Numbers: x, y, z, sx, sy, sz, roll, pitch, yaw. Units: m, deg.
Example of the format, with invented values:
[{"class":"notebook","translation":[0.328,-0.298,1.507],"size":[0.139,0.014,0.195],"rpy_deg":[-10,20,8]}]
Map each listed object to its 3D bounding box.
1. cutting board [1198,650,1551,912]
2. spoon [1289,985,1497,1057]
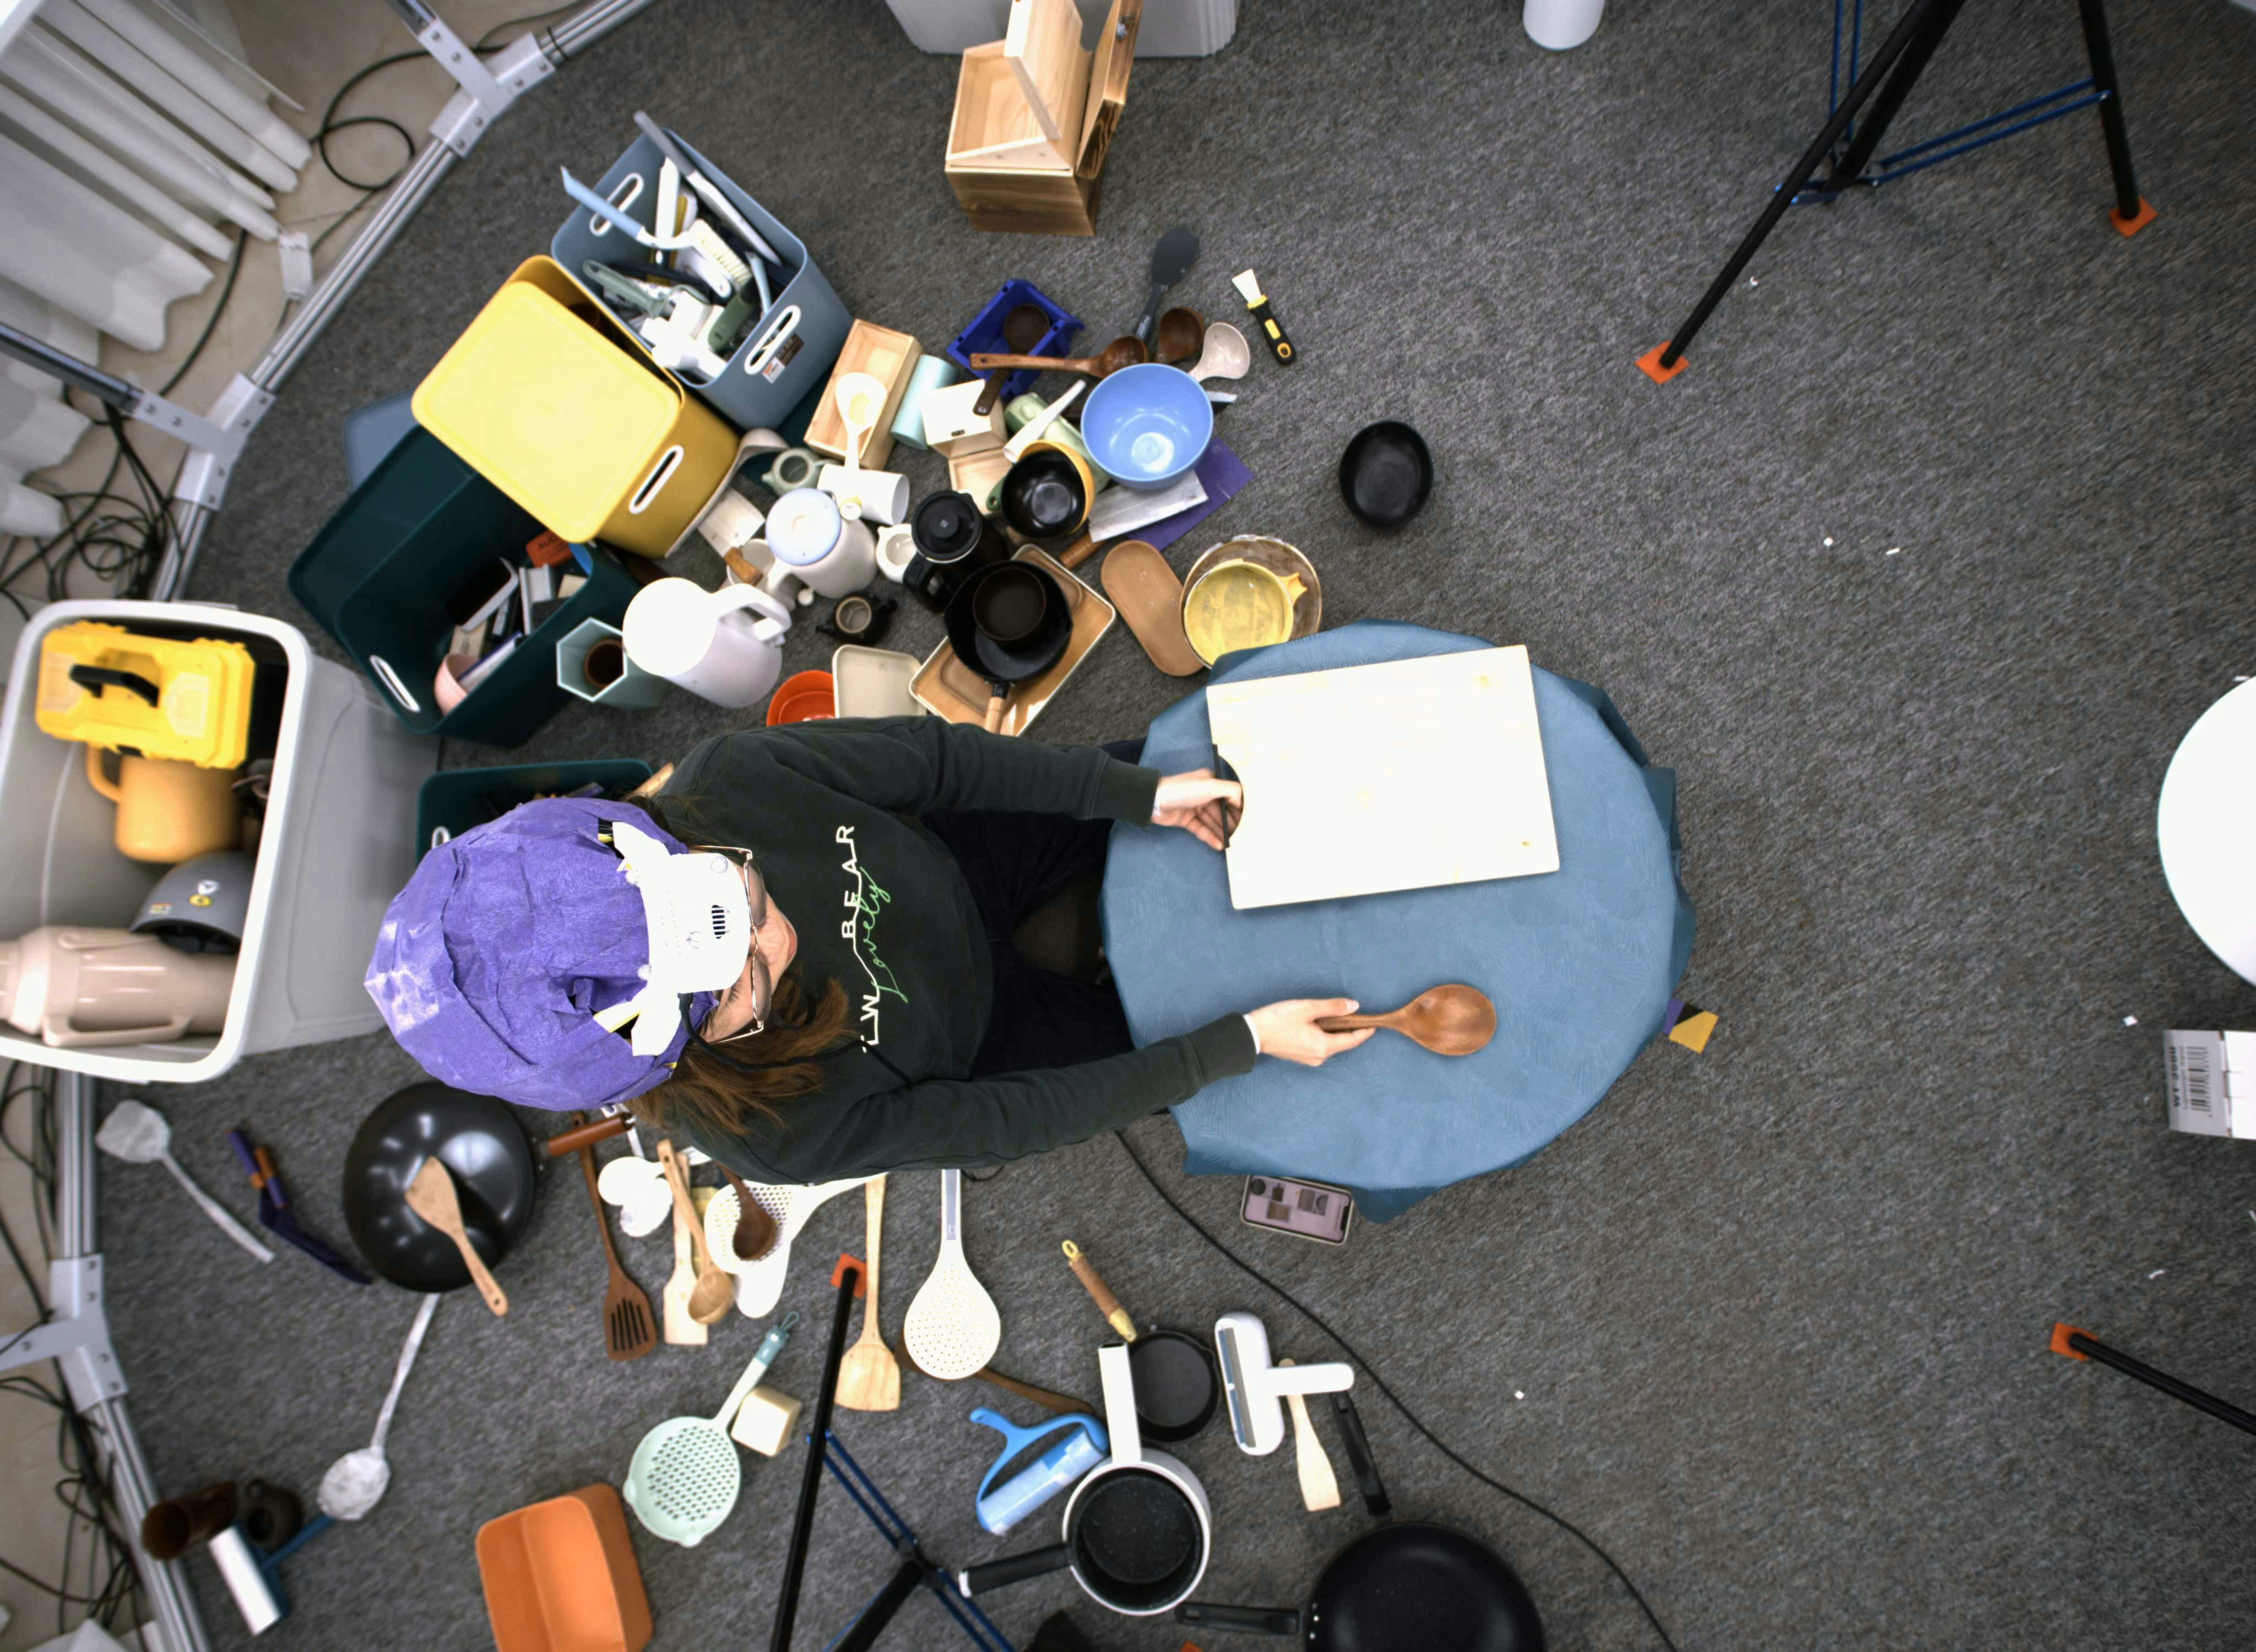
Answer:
[{"class":"cutting board","translation":[0.260,-0.049,1.454],"size":[0.350,0.023,0.249],"rpy_deg":[-8,84,6]},{"class":"spoon","translation":[0.274,0.202,1.433],"size":[0.216,0.017,0.075],"rpy_deg":[-1,89,0]}]
